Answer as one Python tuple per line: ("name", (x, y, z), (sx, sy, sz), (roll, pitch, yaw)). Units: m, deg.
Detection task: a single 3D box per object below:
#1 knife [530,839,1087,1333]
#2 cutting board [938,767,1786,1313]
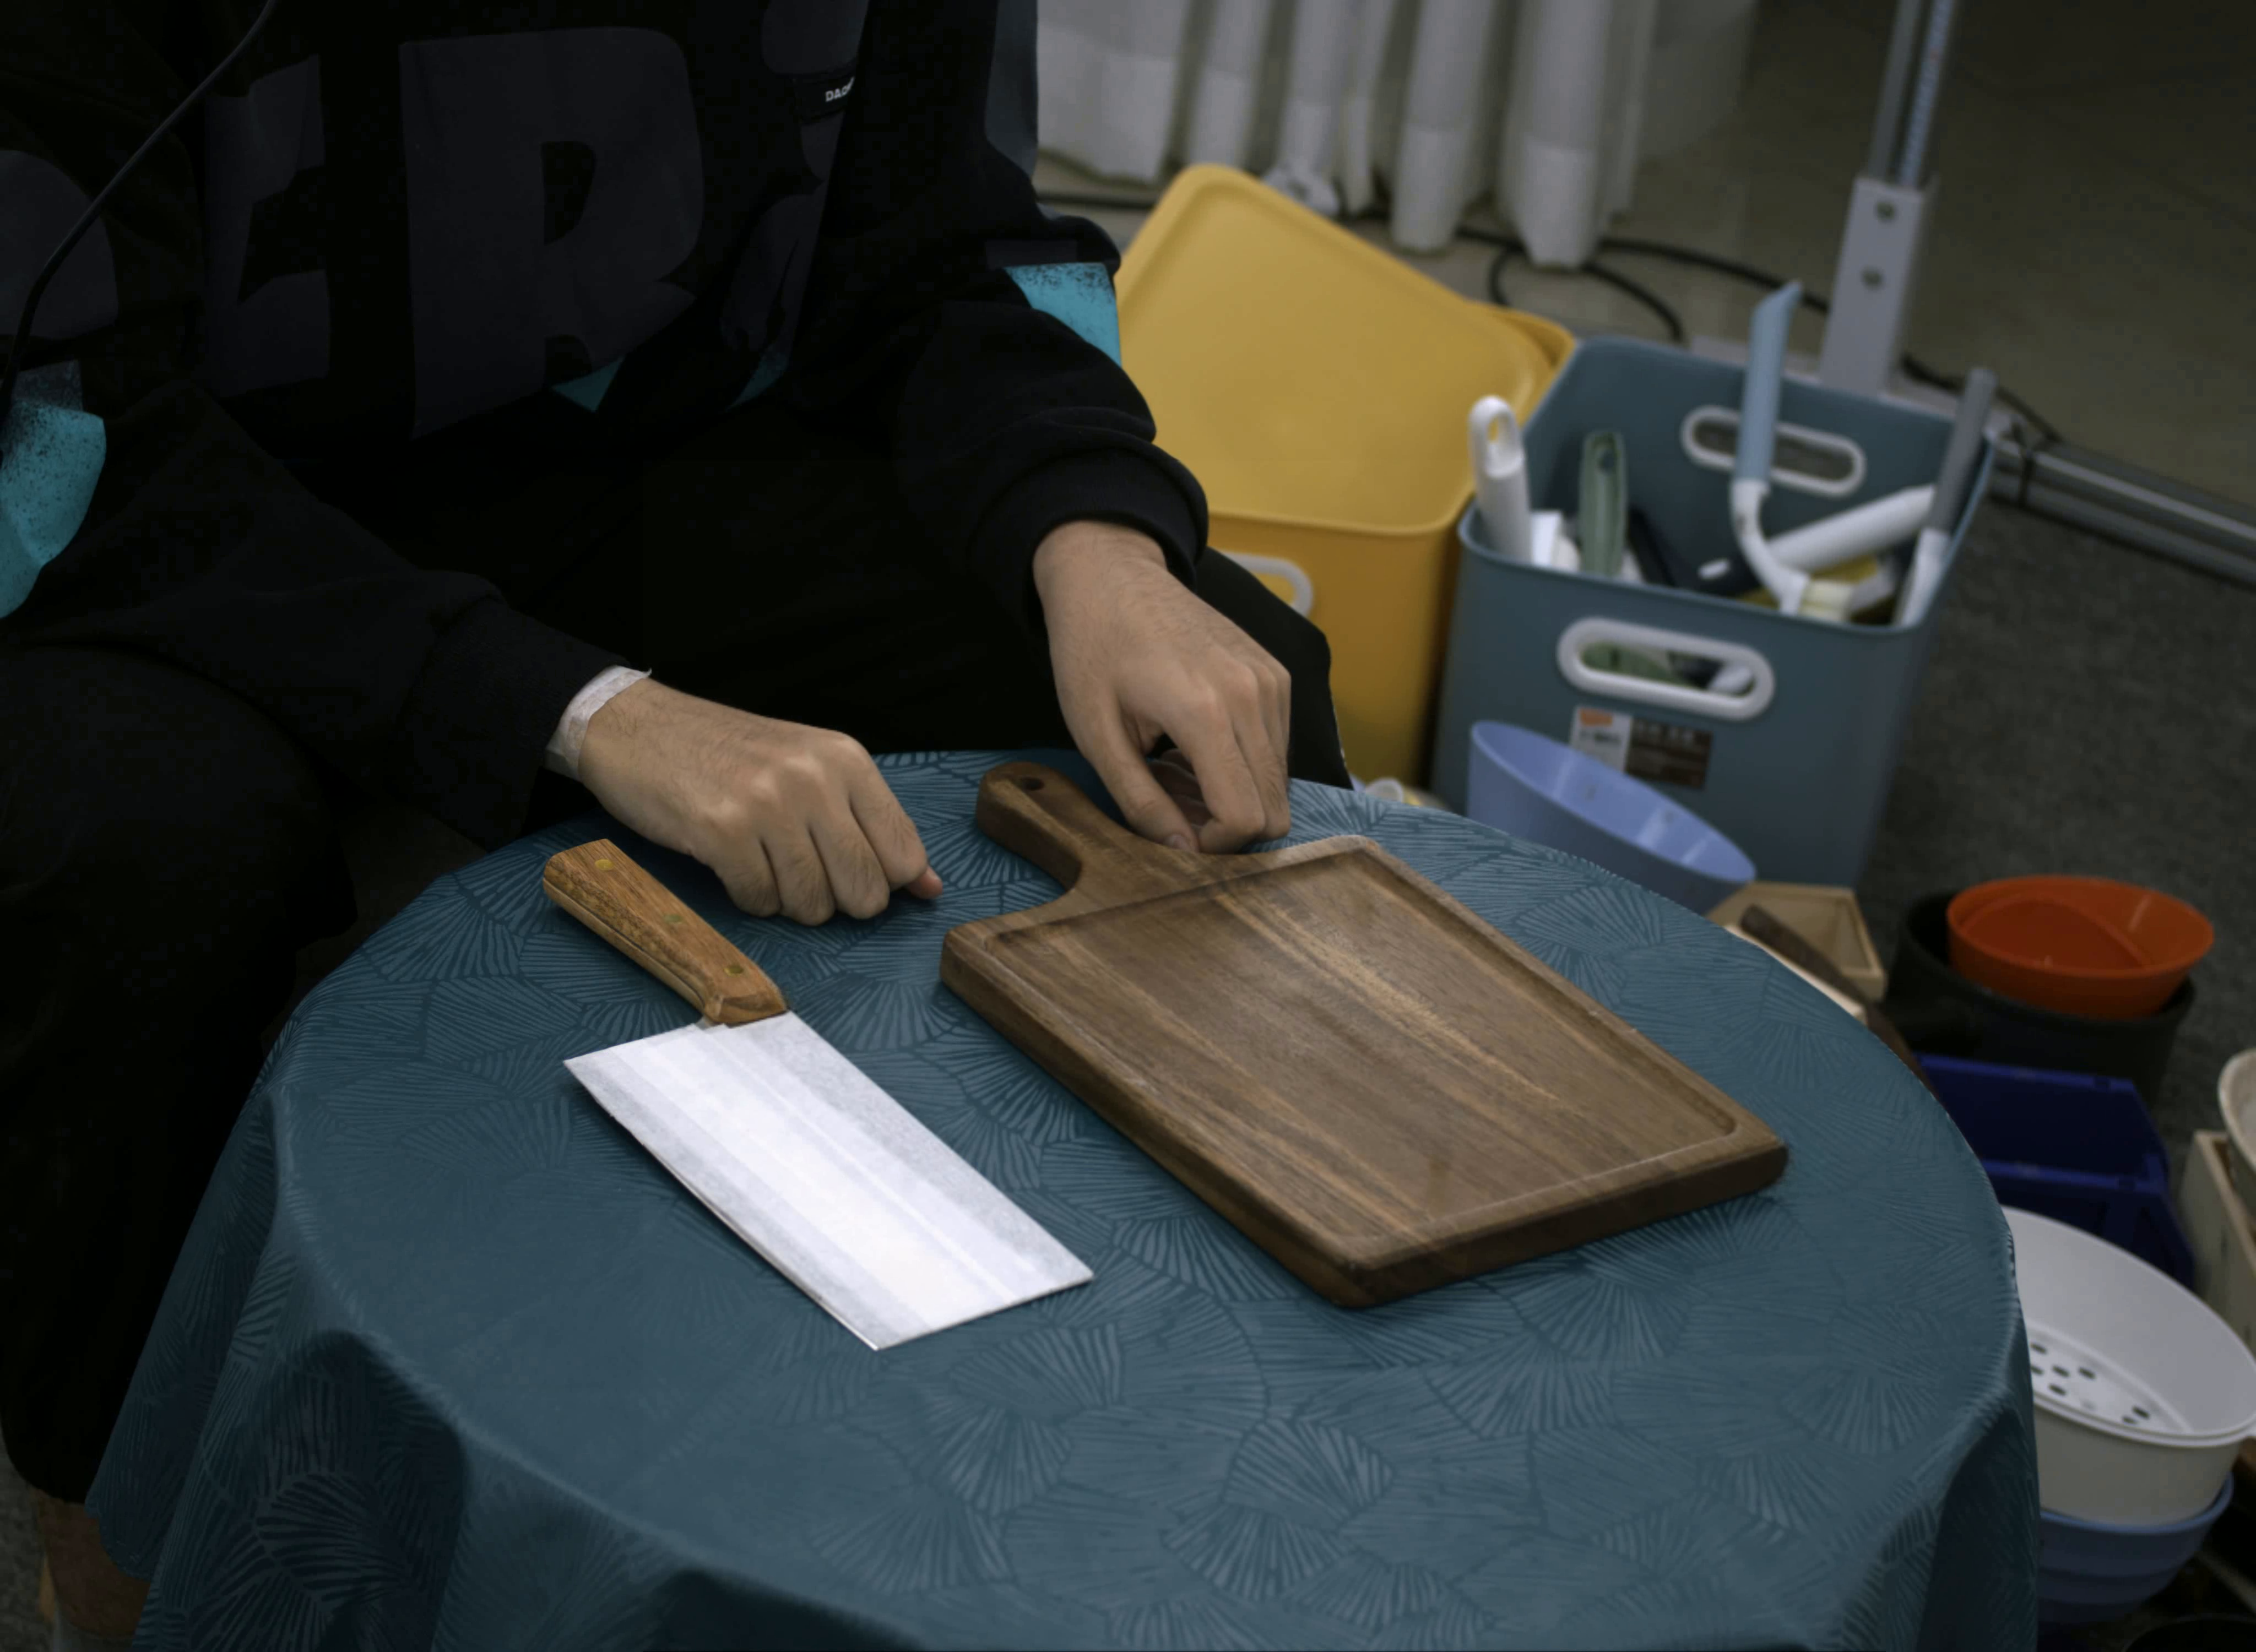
("knife", (-0.135, 0.088, 1.825), (0.092, 0.021, 0.308), (-16, 37, -34))
("cutting board", (0.052, 0.061, 1.915), (0.200, 0.023, 0.355), (-13, 33, -33))
